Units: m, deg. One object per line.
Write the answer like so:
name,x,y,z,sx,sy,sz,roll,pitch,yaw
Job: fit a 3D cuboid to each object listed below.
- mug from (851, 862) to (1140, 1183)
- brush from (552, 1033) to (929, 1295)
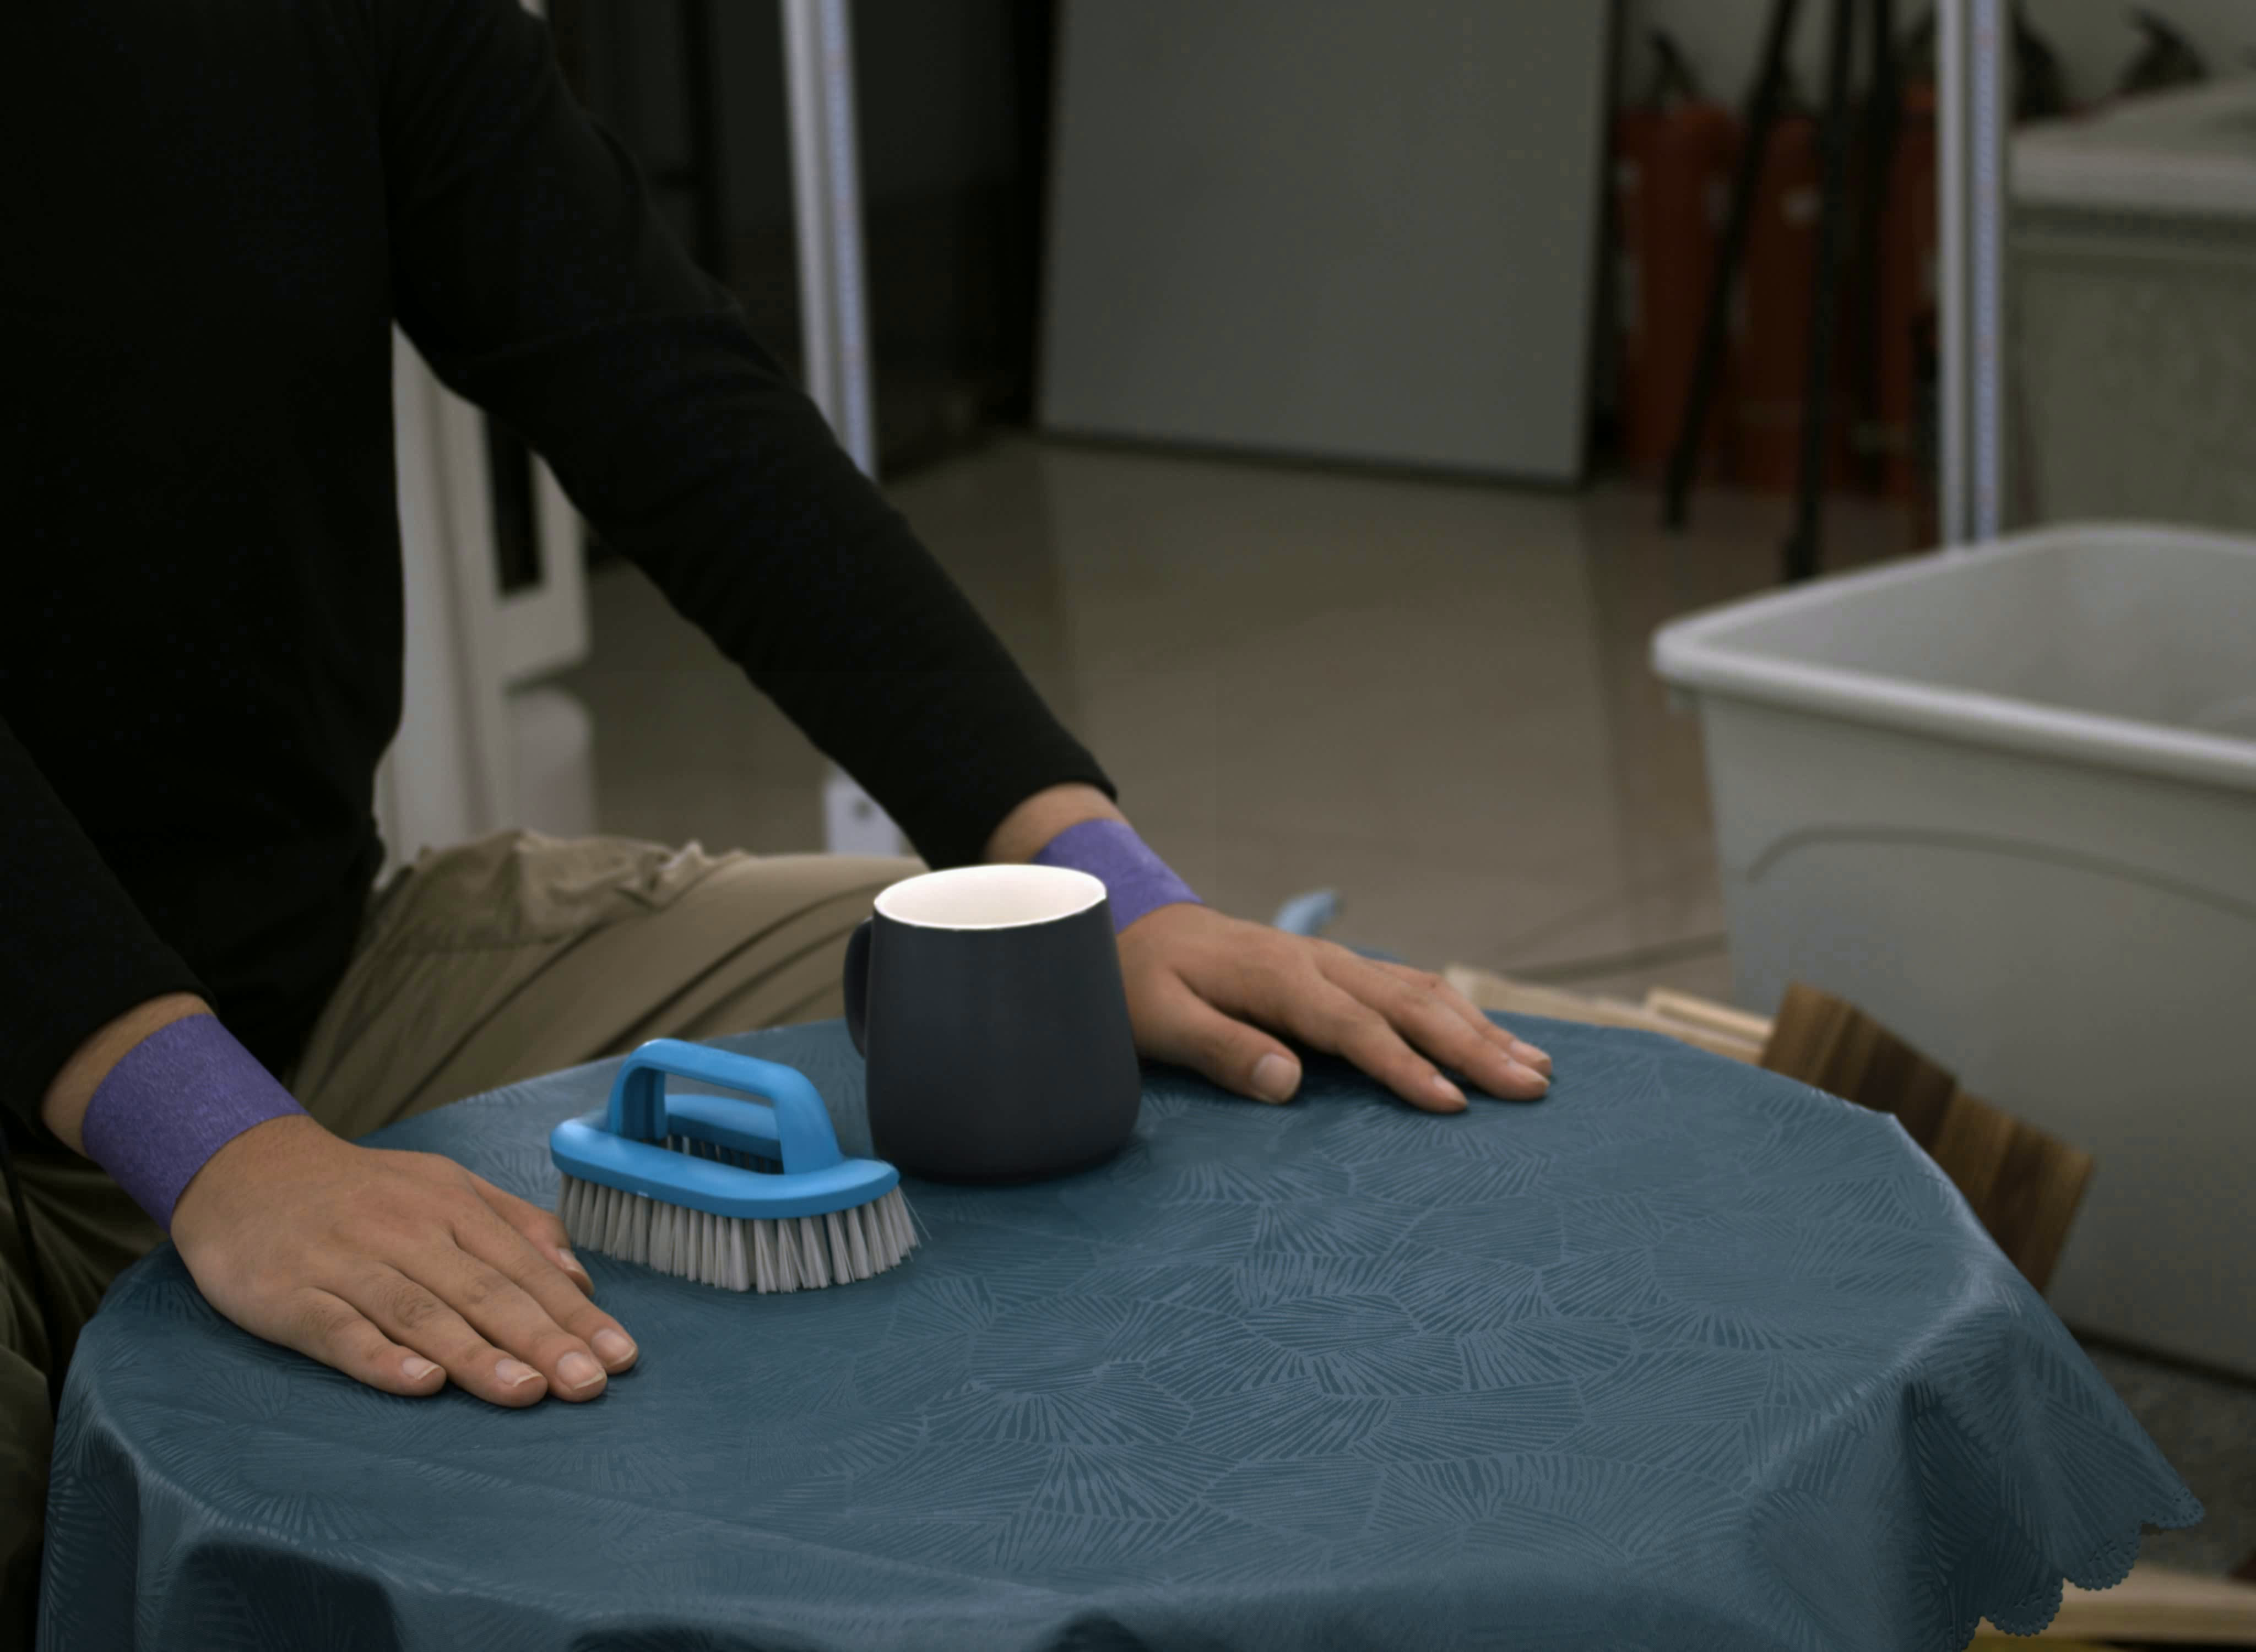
mug,-0.052,0.063,1.822,0.091,0.091,0.124,-13,18,-36
brush,-0.129,0.102,1.744,0.083,0.064,0.143,-22,21,-40
